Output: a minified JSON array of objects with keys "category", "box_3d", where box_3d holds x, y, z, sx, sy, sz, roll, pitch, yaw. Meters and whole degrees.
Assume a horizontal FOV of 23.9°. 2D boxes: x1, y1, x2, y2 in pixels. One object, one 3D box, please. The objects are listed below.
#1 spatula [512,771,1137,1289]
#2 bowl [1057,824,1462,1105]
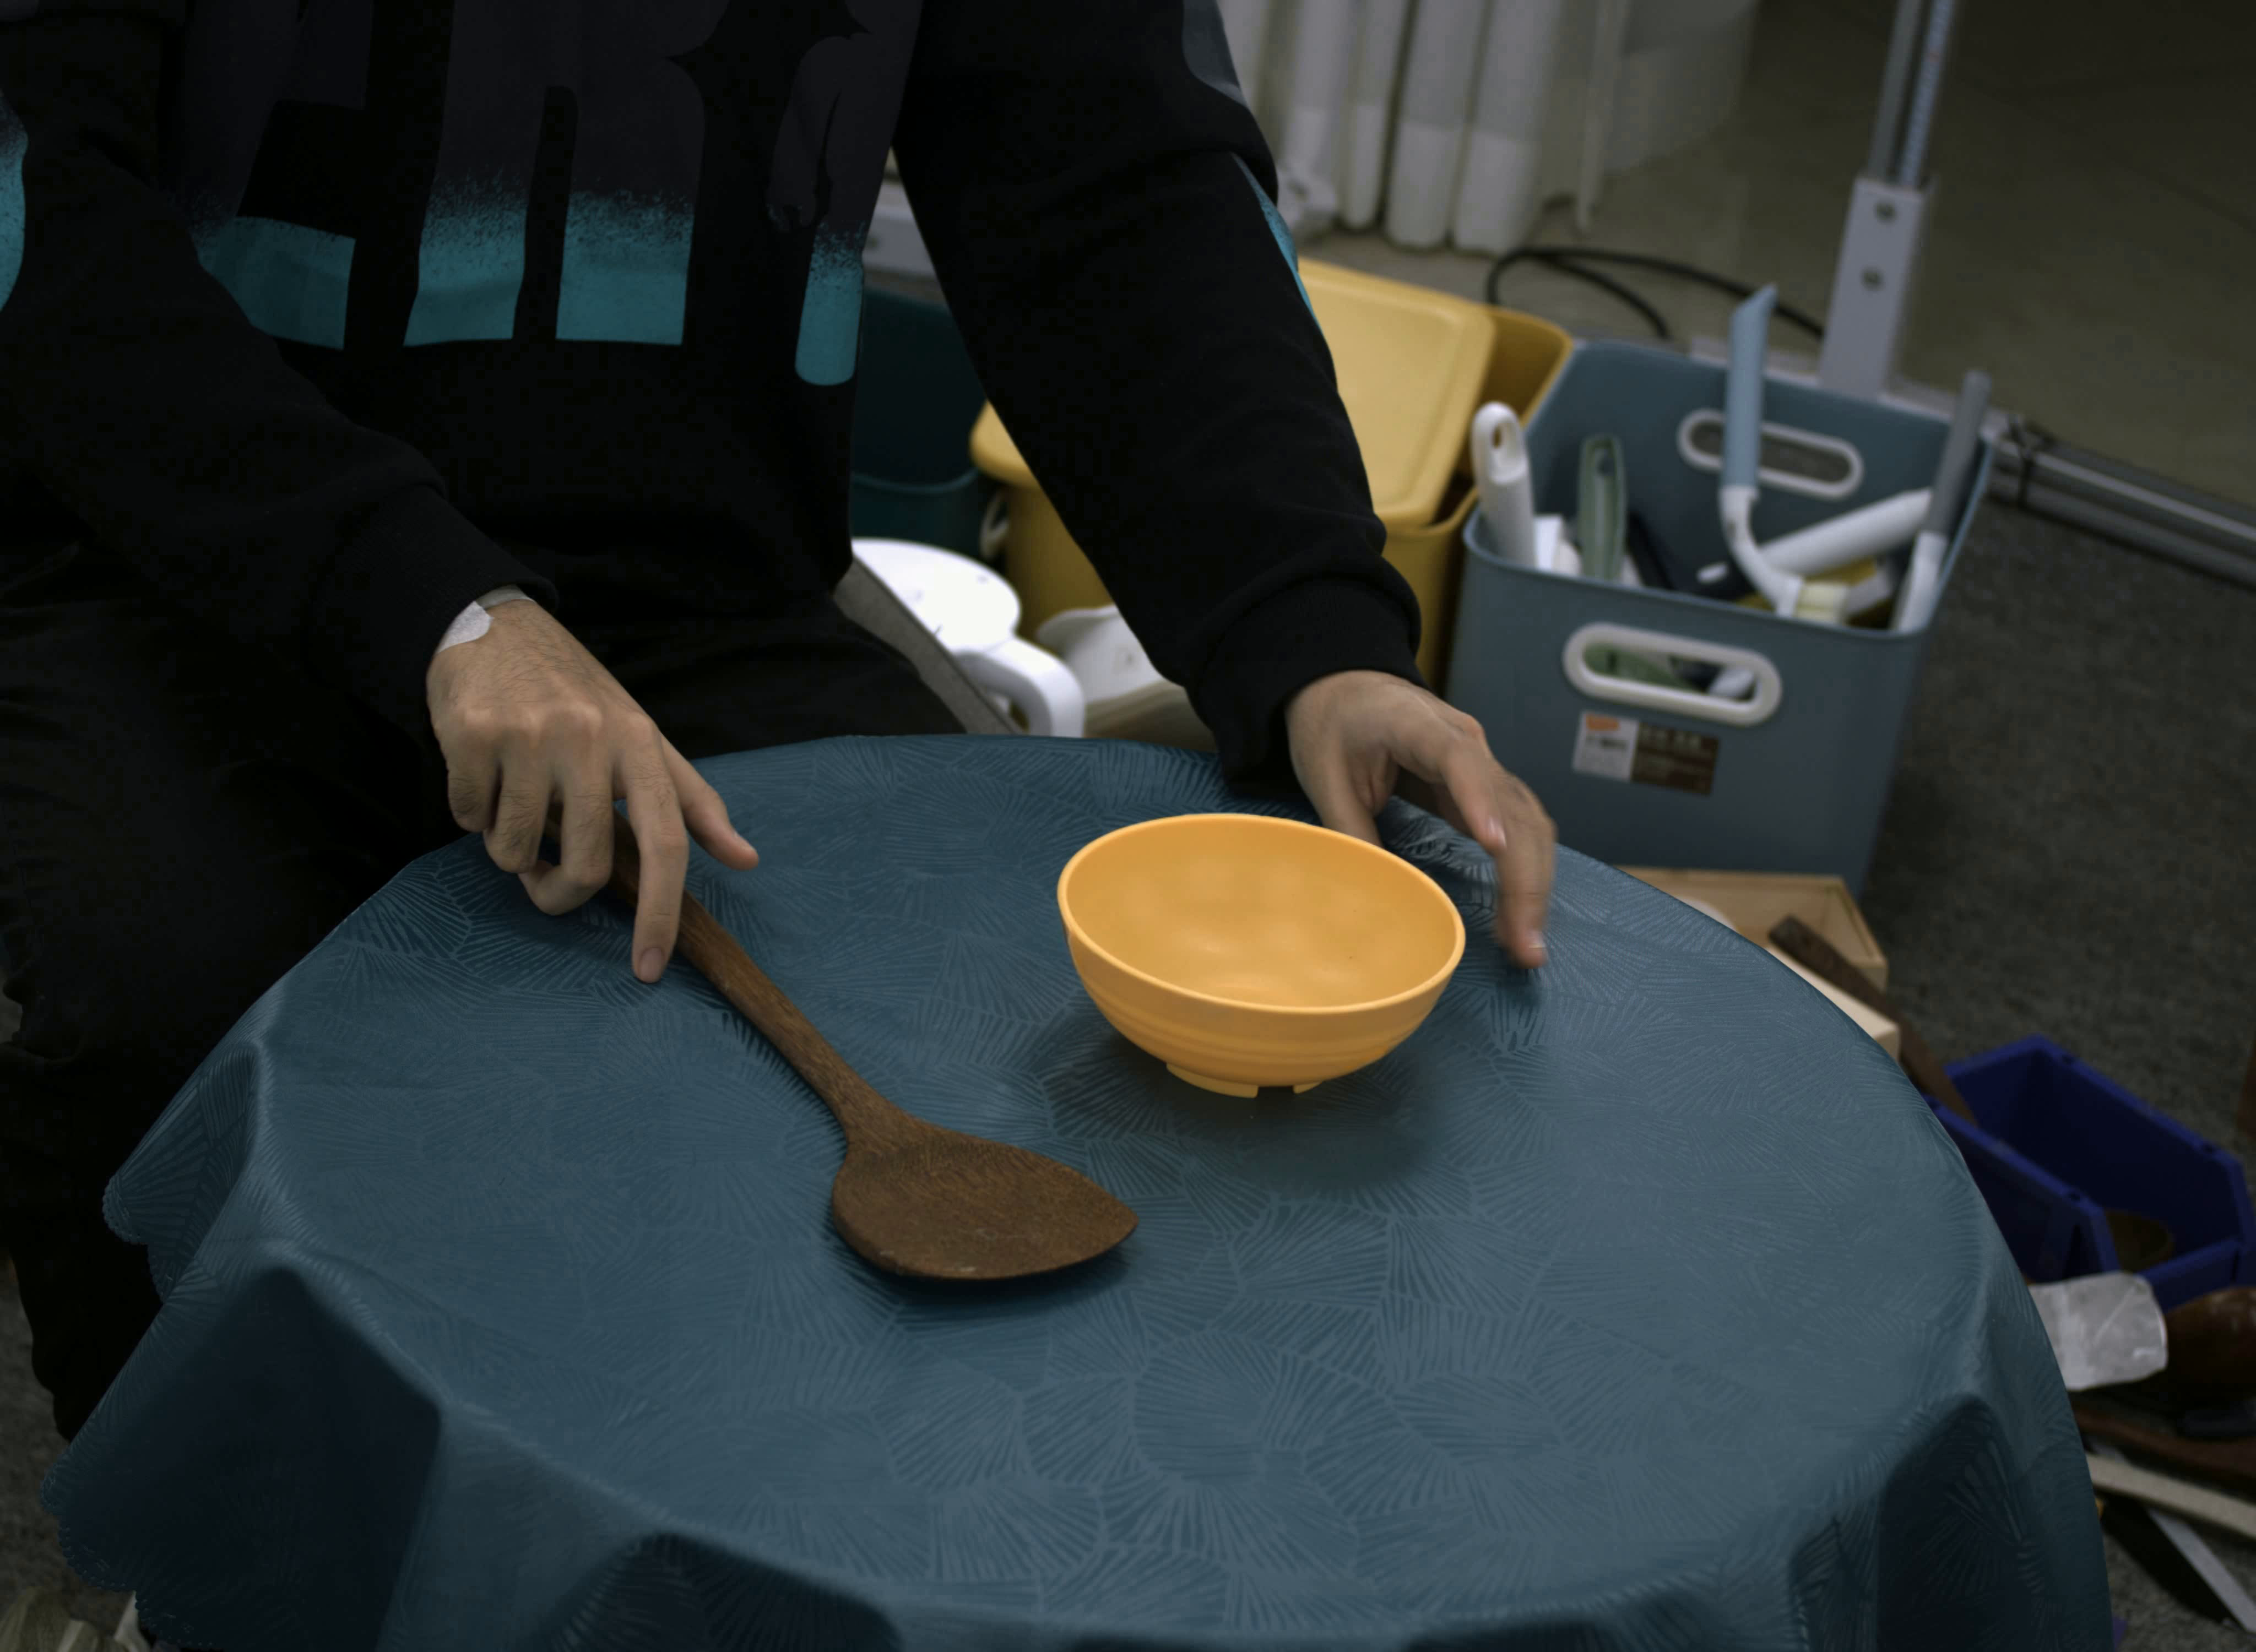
[{"category":"spatula","box_3d":[-0.127,0.064,1.872,0.095,0.016,0.389,-9,31,-31]},{"category":"bowl","box_3d":[0.043,0.057,1.881,0.145,0.060,0.146,7,25,-4]}]
